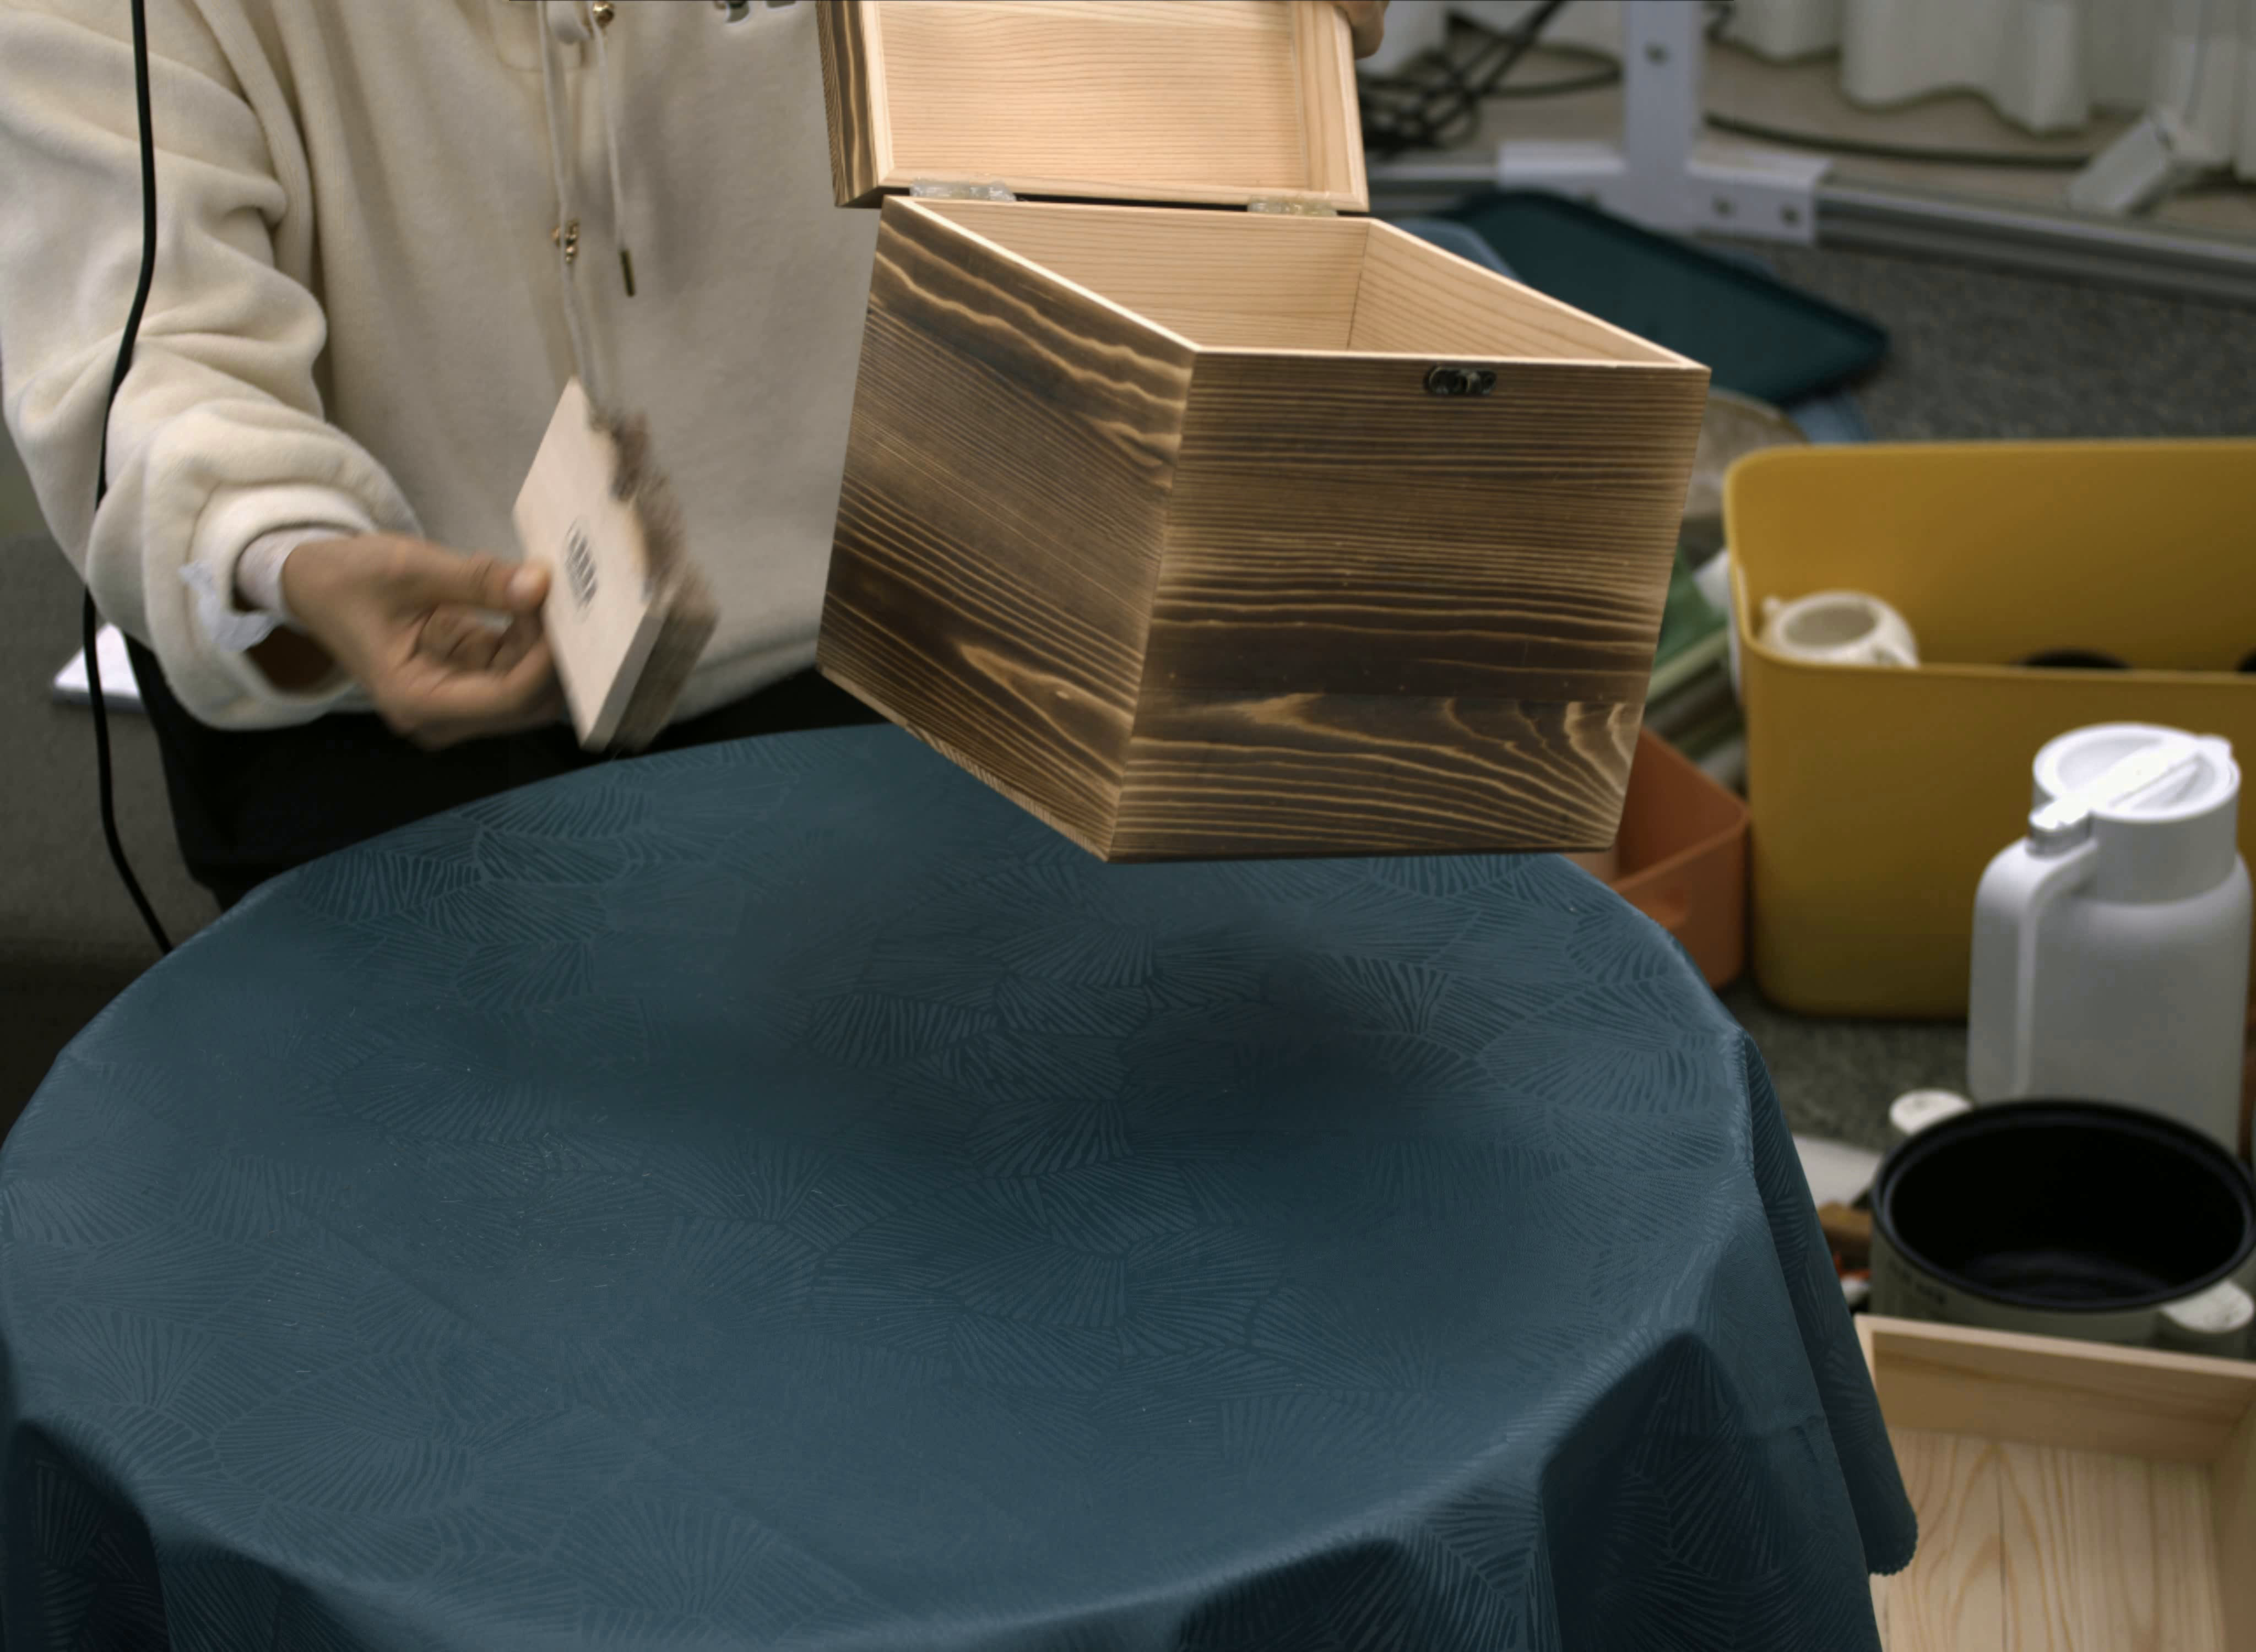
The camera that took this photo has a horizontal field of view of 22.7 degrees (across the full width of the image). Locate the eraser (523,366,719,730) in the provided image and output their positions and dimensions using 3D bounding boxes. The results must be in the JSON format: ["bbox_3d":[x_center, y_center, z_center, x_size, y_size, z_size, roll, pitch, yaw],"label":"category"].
[{"bbox_3d":[-0.171,-0.092,1.892,0.029,0.056,0.141,14,31,-25],"label":"eraser"}]

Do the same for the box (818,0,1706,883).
[{"bbox_3d":[0.028,-0.210,1.897,0.209,0.373,0.323,-1,19,-33],"label":"box"}]
